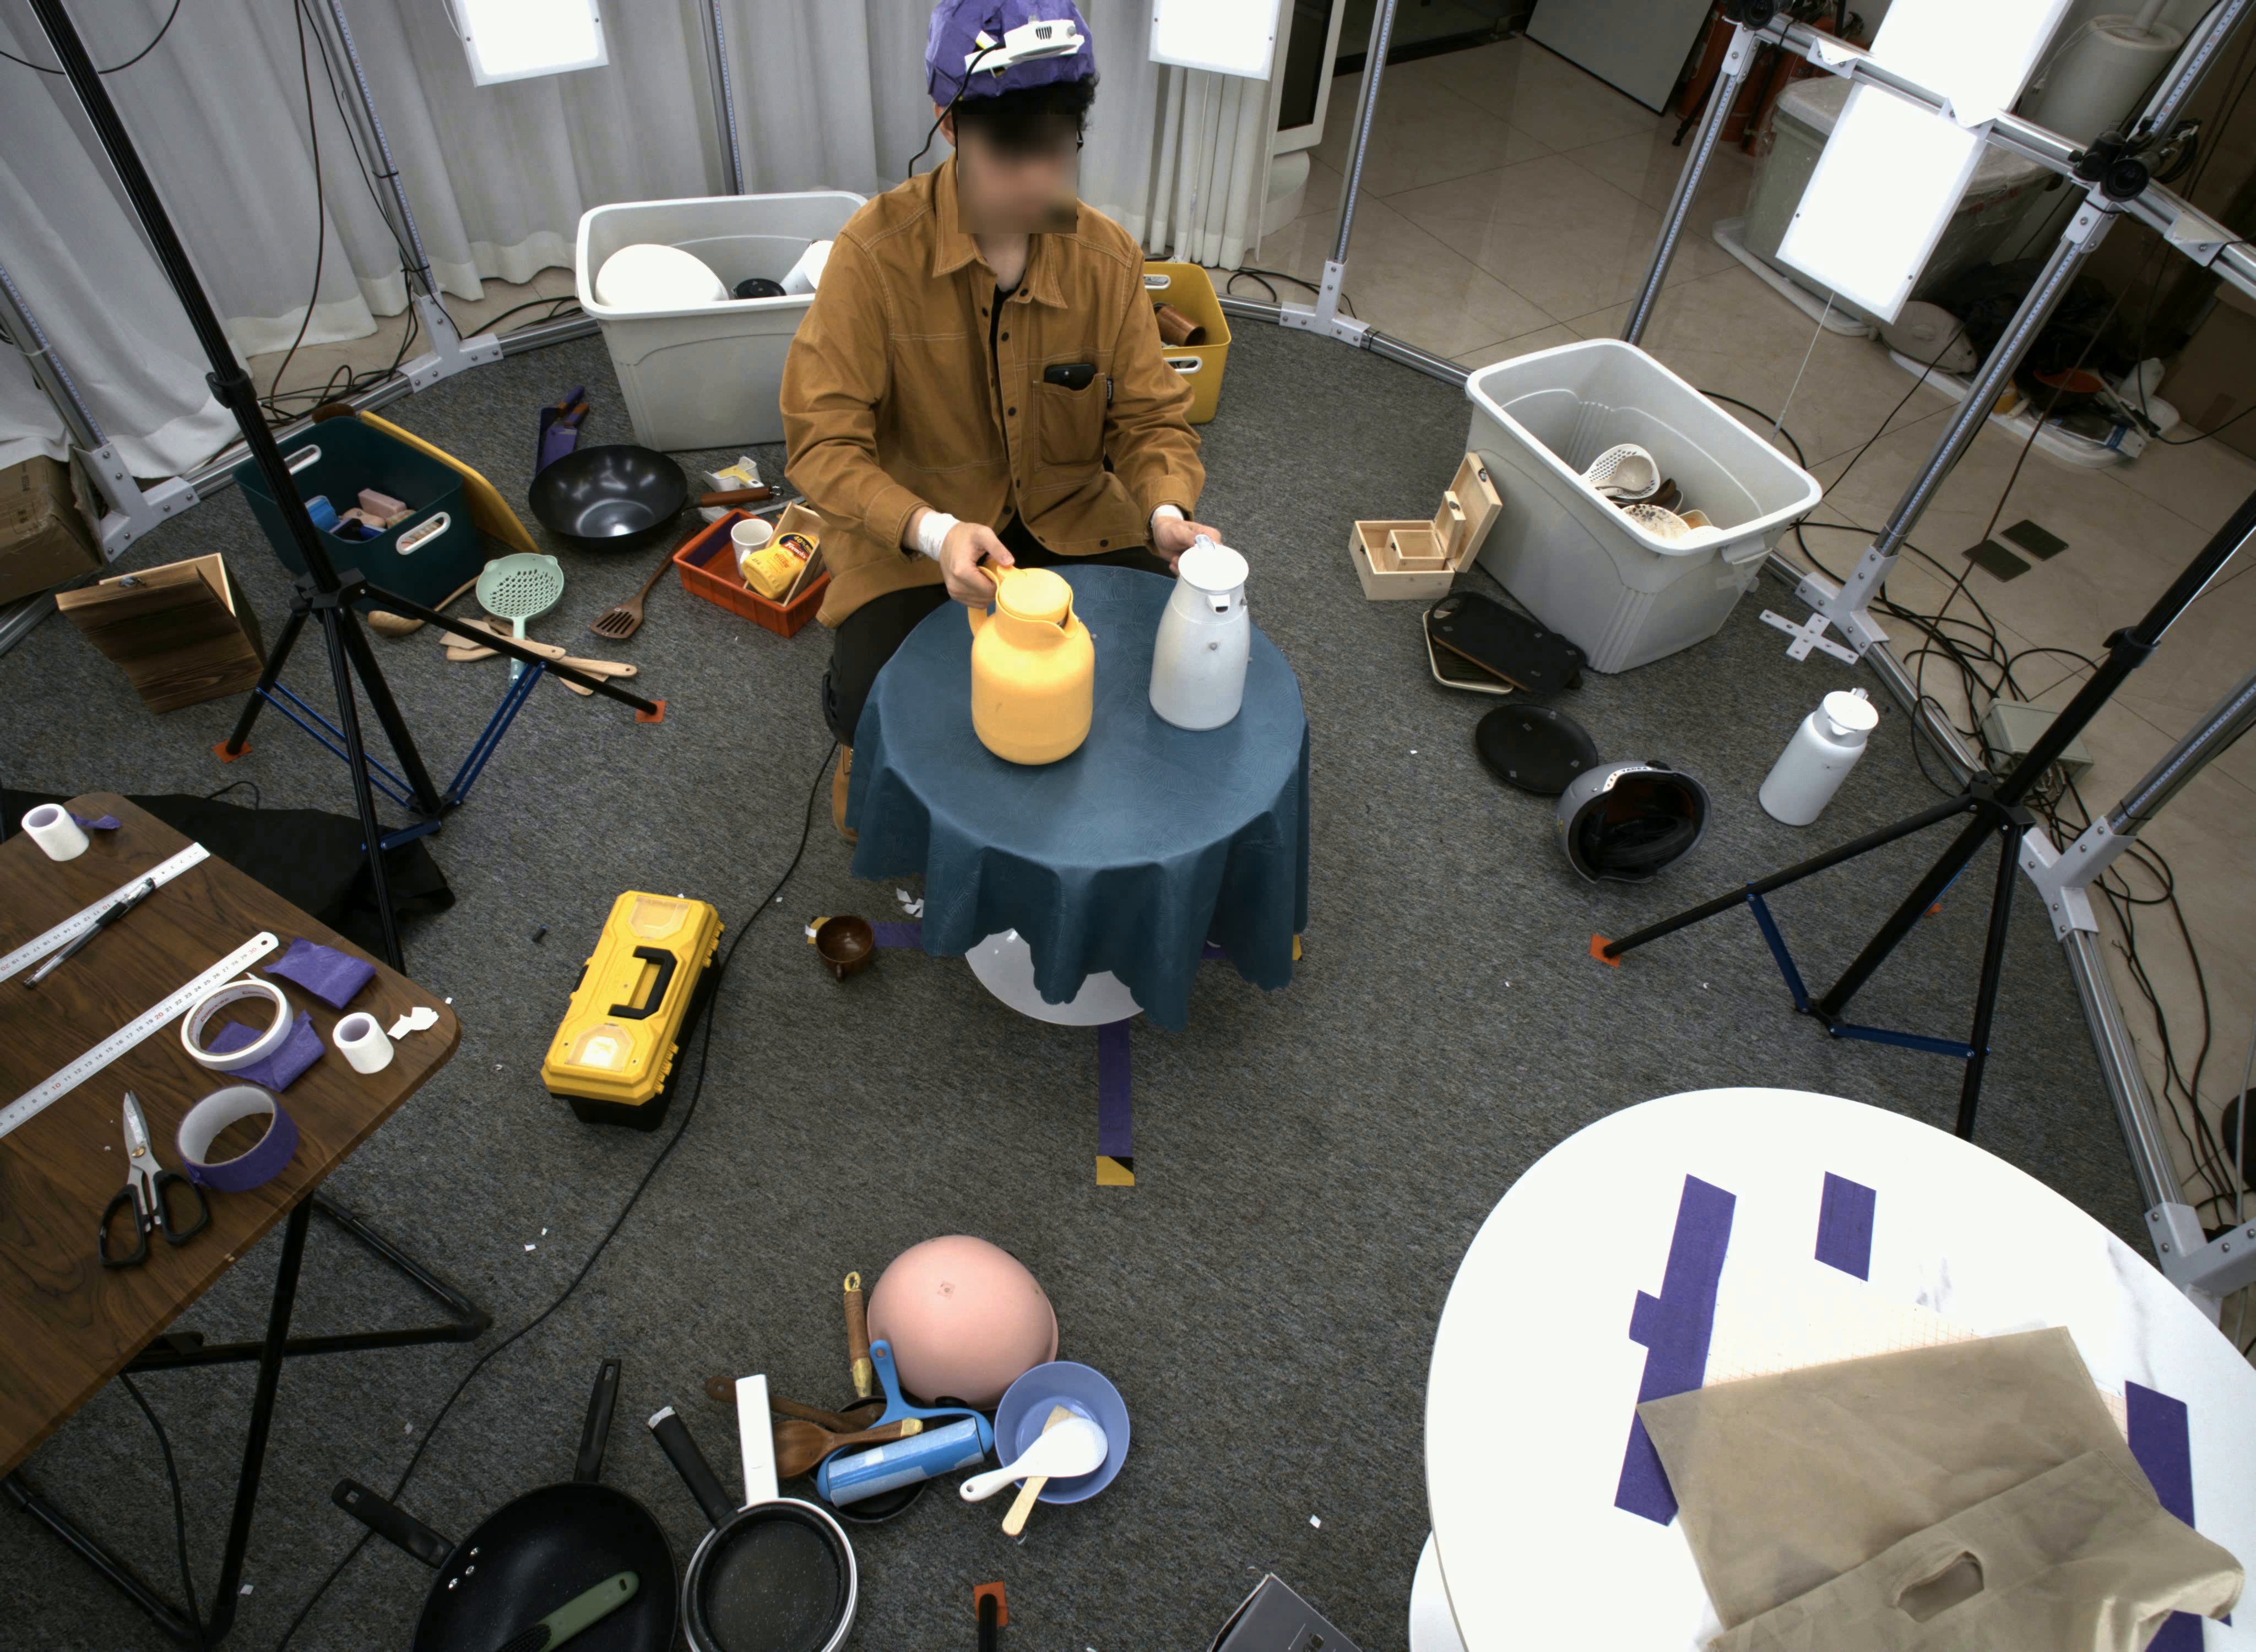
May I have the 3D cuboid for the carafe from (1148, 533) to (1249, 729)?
[{"bbox_3d":[0.098,-0.277,1.754,0.132,0.242,0.172,-5,50,-9],"label":"carafe"}]

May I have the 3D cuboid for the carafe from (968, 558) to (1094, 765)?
[{"bbox_3d":[-0.137,-0.225,1.688,0.164,0.254,0.206,-30,58,-29],"label":"carafe"}]
